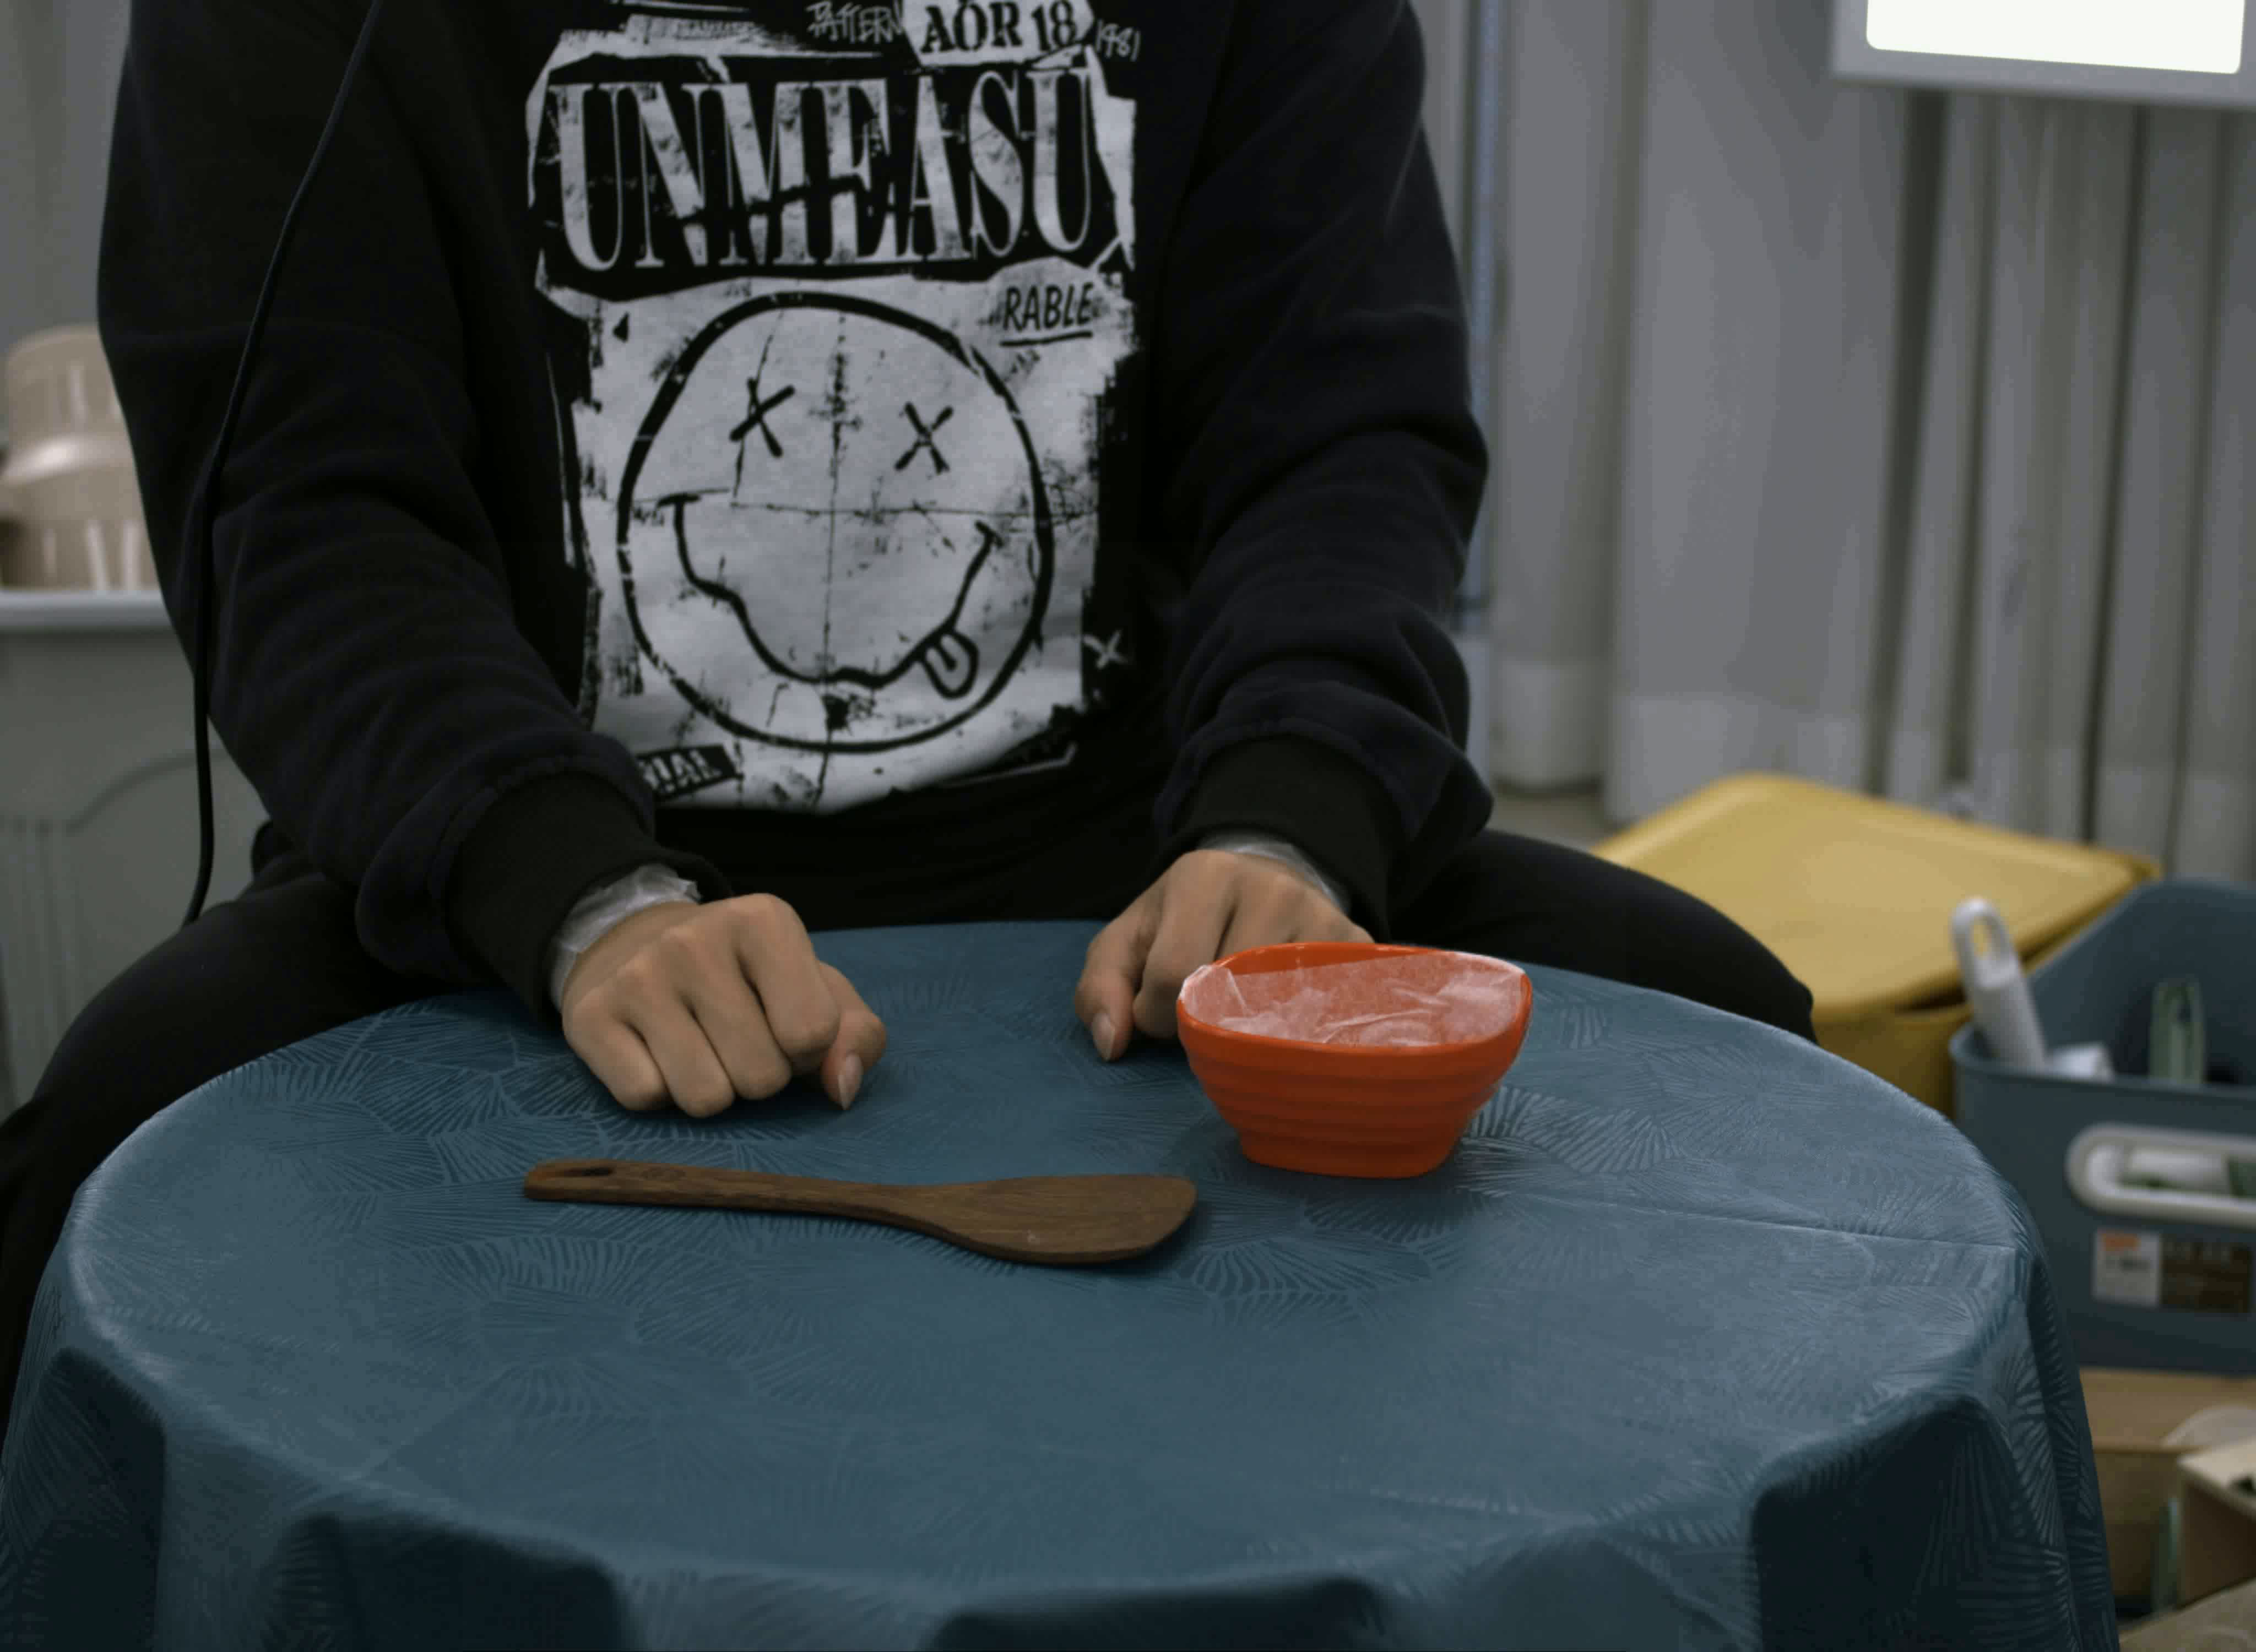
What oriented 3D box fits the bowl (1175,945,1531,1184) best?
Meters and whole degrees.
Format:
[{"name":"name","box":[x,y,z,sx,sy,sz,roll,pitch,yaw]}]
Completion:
[{"name":"bowl","box":[0.071,0.078,1.666,0.118,0.052,0.118,0,17,1]}]

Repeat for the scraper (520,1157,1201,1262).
[{"name":"scraper","box":[-0.083,0.114,1.605,0.210,0.011,0.076,3,15,12]}]
